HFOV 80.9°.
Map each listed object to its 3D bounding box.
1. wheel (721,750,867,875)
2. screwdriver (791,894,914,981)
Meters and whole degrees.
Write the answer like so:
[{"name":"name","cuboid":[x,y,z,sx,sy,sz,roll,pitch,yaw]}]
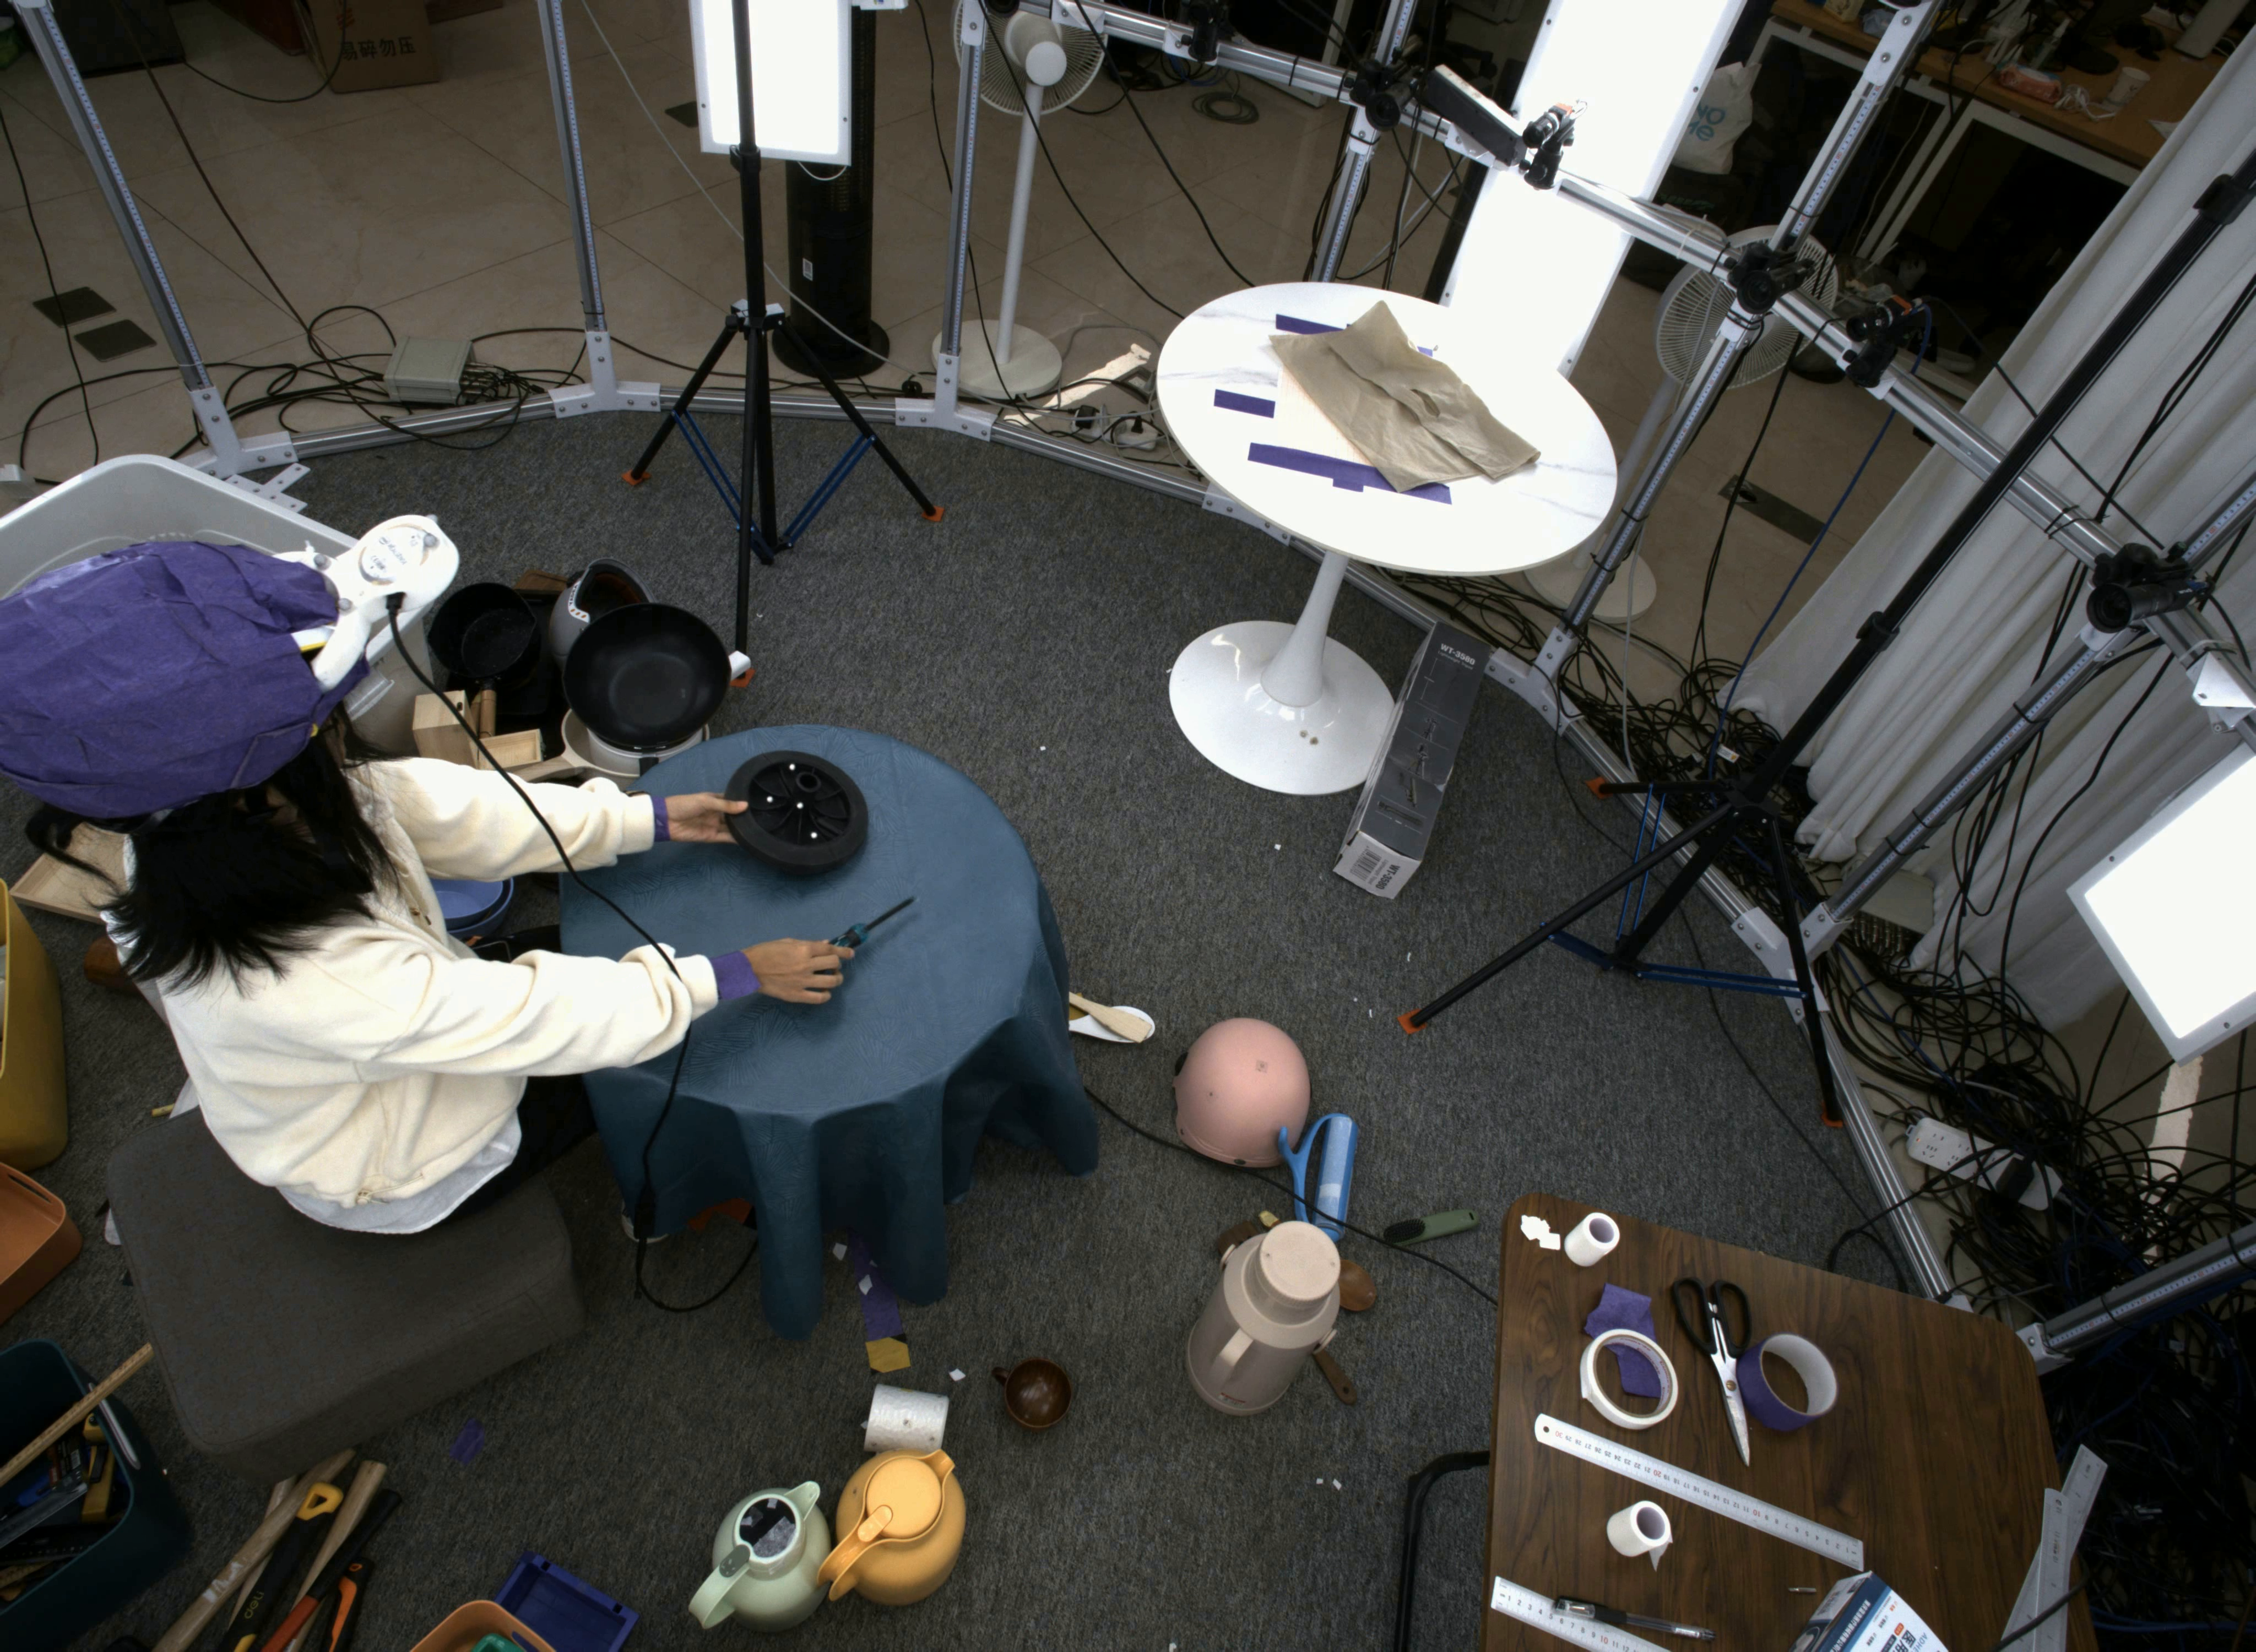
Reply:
[{"name":"wheel","cuboid":[-0.425,-0.033,1.674,0.193,0.079,0.183,14,49,-26]},{"name":"screwdriver","cuboid":[-0.335,0.131,1.605,0.033,0.034,0.190,39,48,18]}]
